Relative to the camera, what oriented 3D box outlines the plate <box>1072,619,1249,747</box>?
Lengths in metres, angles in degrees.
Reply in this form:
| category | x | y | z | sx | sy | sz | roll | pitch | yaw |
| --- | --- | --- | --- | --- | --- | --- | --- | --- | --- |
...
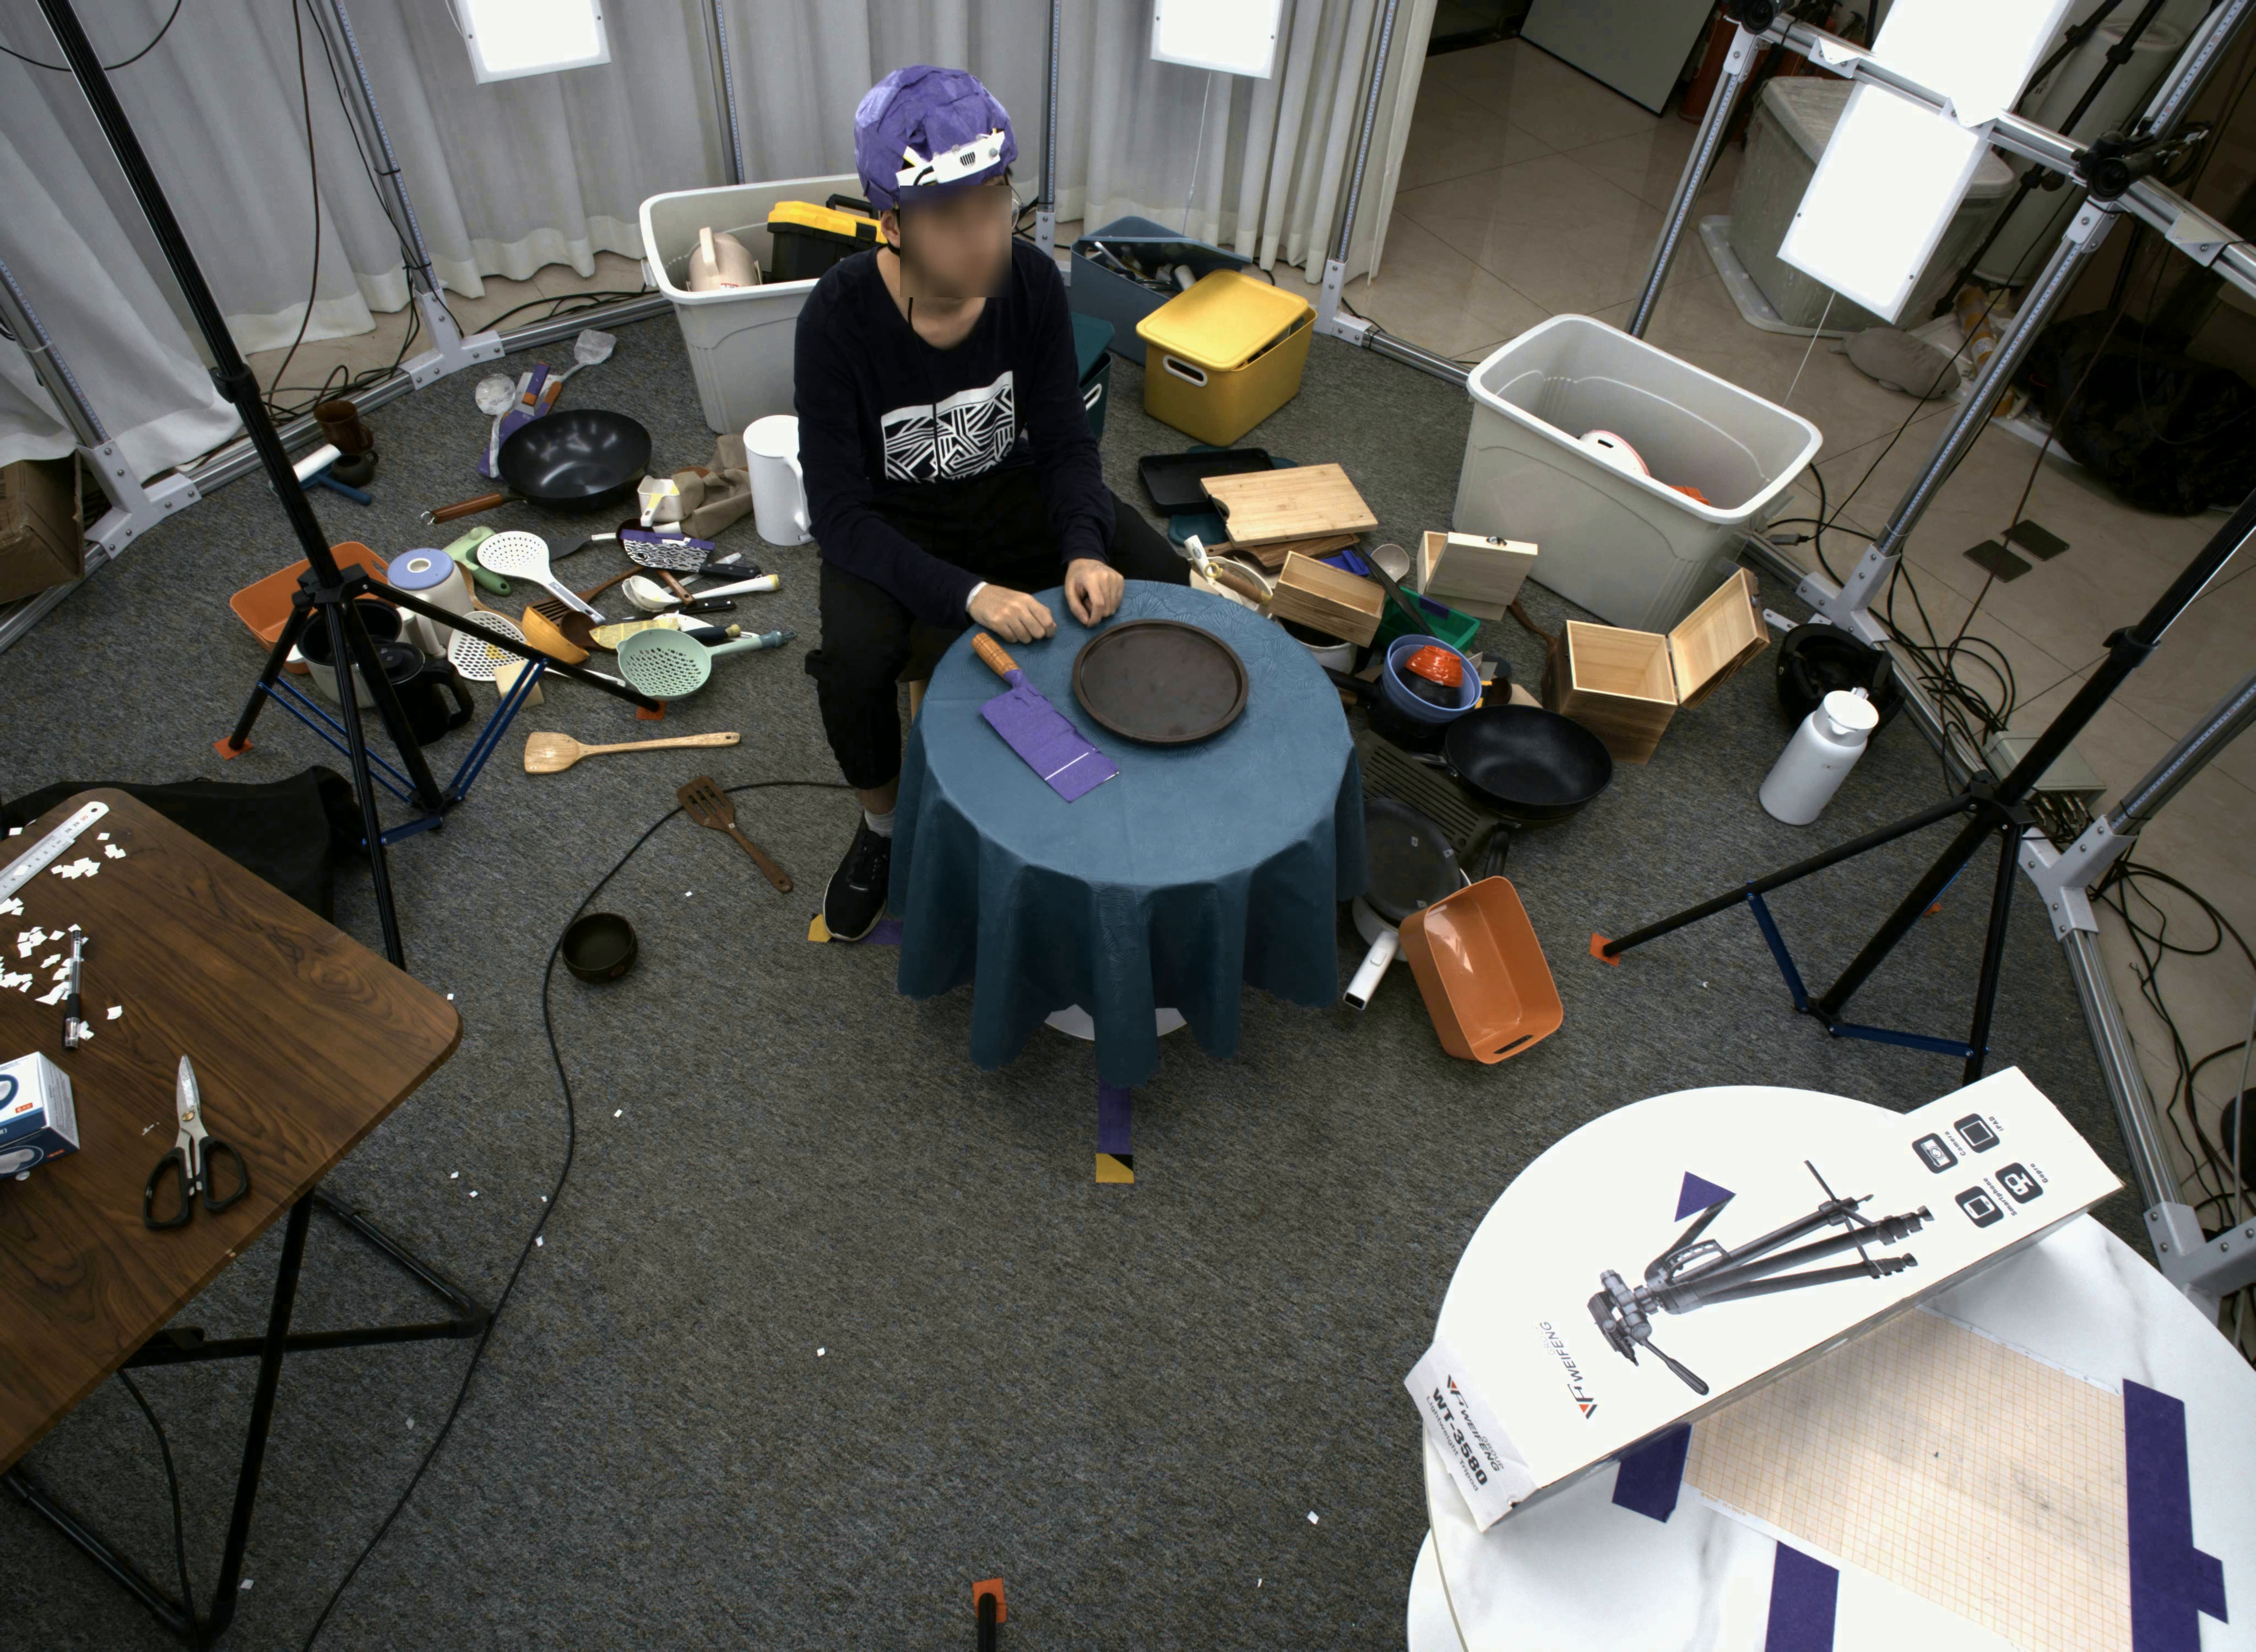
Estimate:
| category | x | y | z | sx | sy | sz | roll | pitch | yaw |
| --- | --- | --- | --- | --- | --- | --- | --- | --- | --- |
| plate | 0.046 | -0.206 | 1.833 | 0.254 | 0.028 | 0.261 | 2 | 50 | -2 |

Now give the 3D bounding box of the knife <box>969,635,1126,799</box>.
| category | x | y | z | sx | sy | sz | roll | pitch | yaw |
| --- | --- | --- | --- | --- | --- | --- | --- | --- | --- |
| knife | -0.140 | -0.155 | 1.774 | 0.104 | 0.031 | 0.320 | -30 | 58 | -27 |
